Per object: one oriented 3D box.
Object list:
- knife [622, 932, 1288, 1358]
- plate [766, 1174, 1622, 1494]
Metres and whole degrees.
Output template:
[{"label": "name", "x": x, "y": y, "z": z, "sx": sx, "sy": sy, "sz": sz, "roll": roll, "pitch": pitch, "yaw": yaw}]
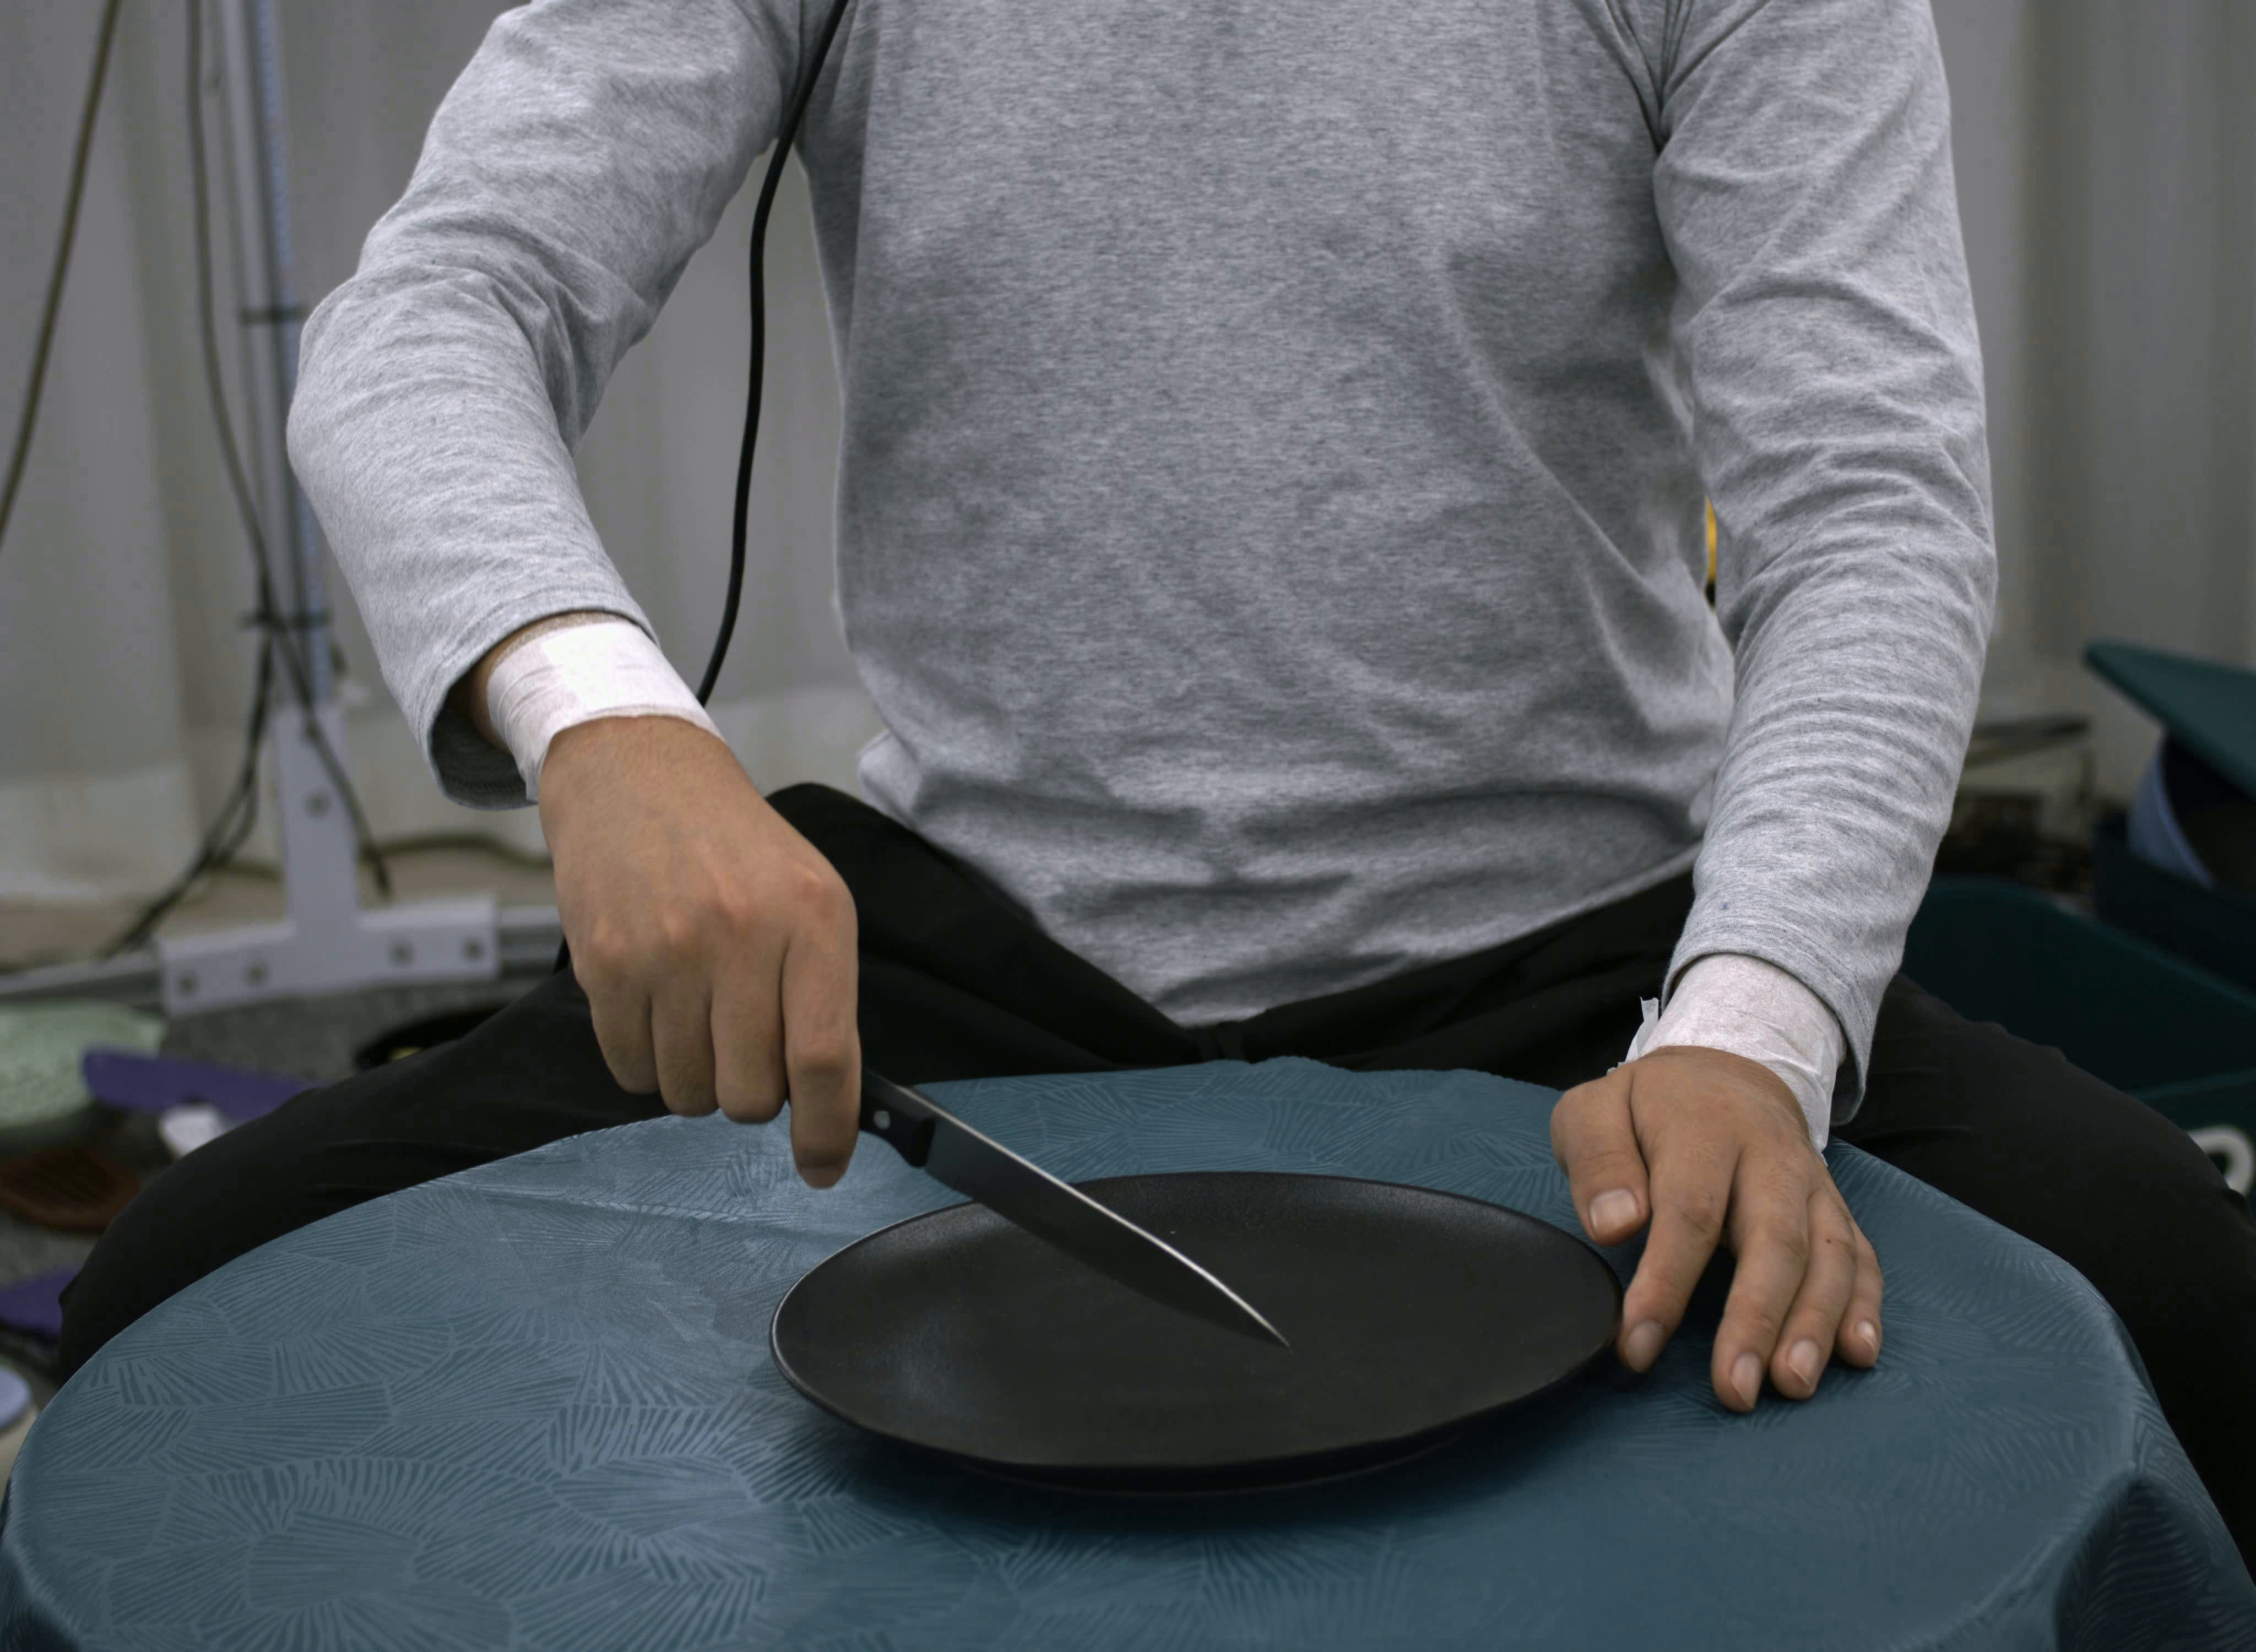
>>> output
[{"label": "knife", "x": -0.050, "y": 0.090, "z": 1.571, "sx": 0.239, "sy": 0.024, "sz": 0.016, "roll": 30, "pitch": 29, "yaw": 23}, {"label": "plate", "x": 0.019, "y": 0.147, "z": 1.551, "sx": 0.243, "sy": 0.023, "sz": 0.246, "roll": -3, "pitch": 14, "yaw": 0}]
